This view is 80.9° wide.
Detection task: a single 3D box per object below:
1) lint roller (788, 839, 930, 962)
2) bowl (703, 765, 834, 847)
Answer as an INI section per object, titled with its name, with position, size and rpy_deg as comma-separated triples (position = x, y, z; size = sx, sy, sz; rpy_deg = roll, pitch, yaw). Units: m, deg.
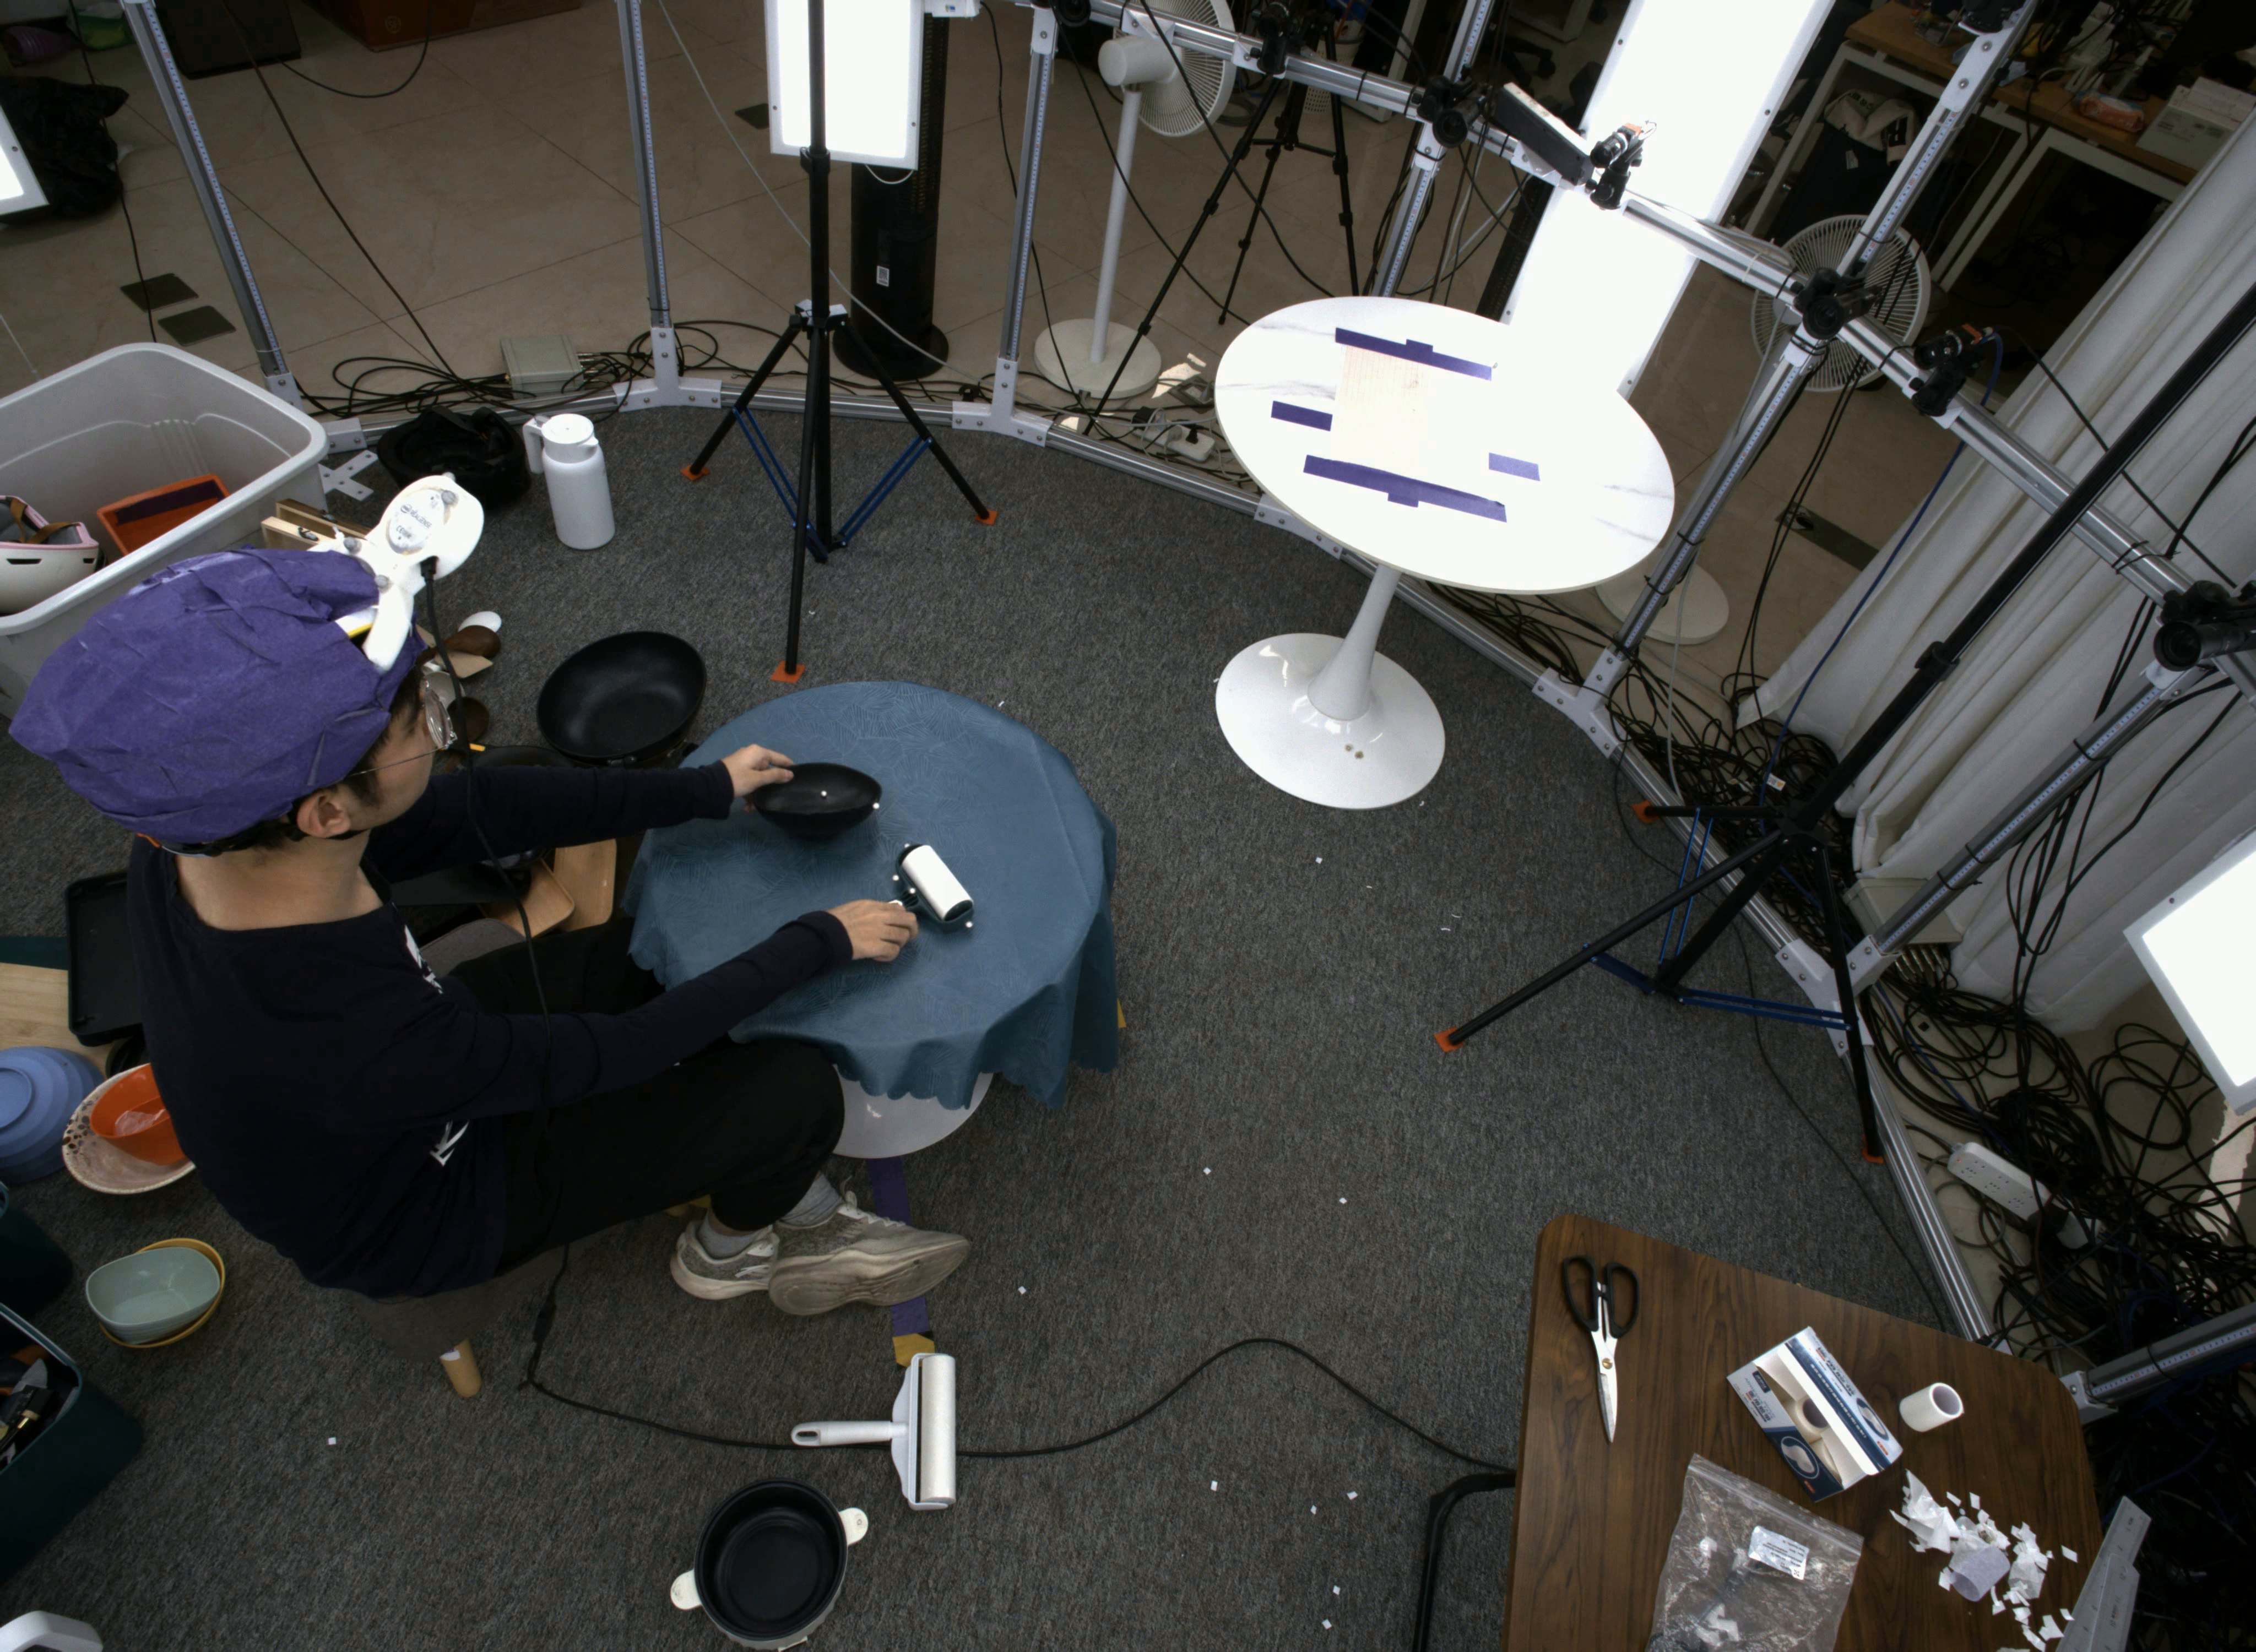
[lint roller]
position = -0.354, 0.108, 1.647
size = 0.180, 0.049, 0.131
rpy_deg = -32, 66, -28
[bowl]
position = -0.465, -0.018, 1.681
size = 0.172, 0.068, 0.132
rpy_deg = -14, 37, -36
